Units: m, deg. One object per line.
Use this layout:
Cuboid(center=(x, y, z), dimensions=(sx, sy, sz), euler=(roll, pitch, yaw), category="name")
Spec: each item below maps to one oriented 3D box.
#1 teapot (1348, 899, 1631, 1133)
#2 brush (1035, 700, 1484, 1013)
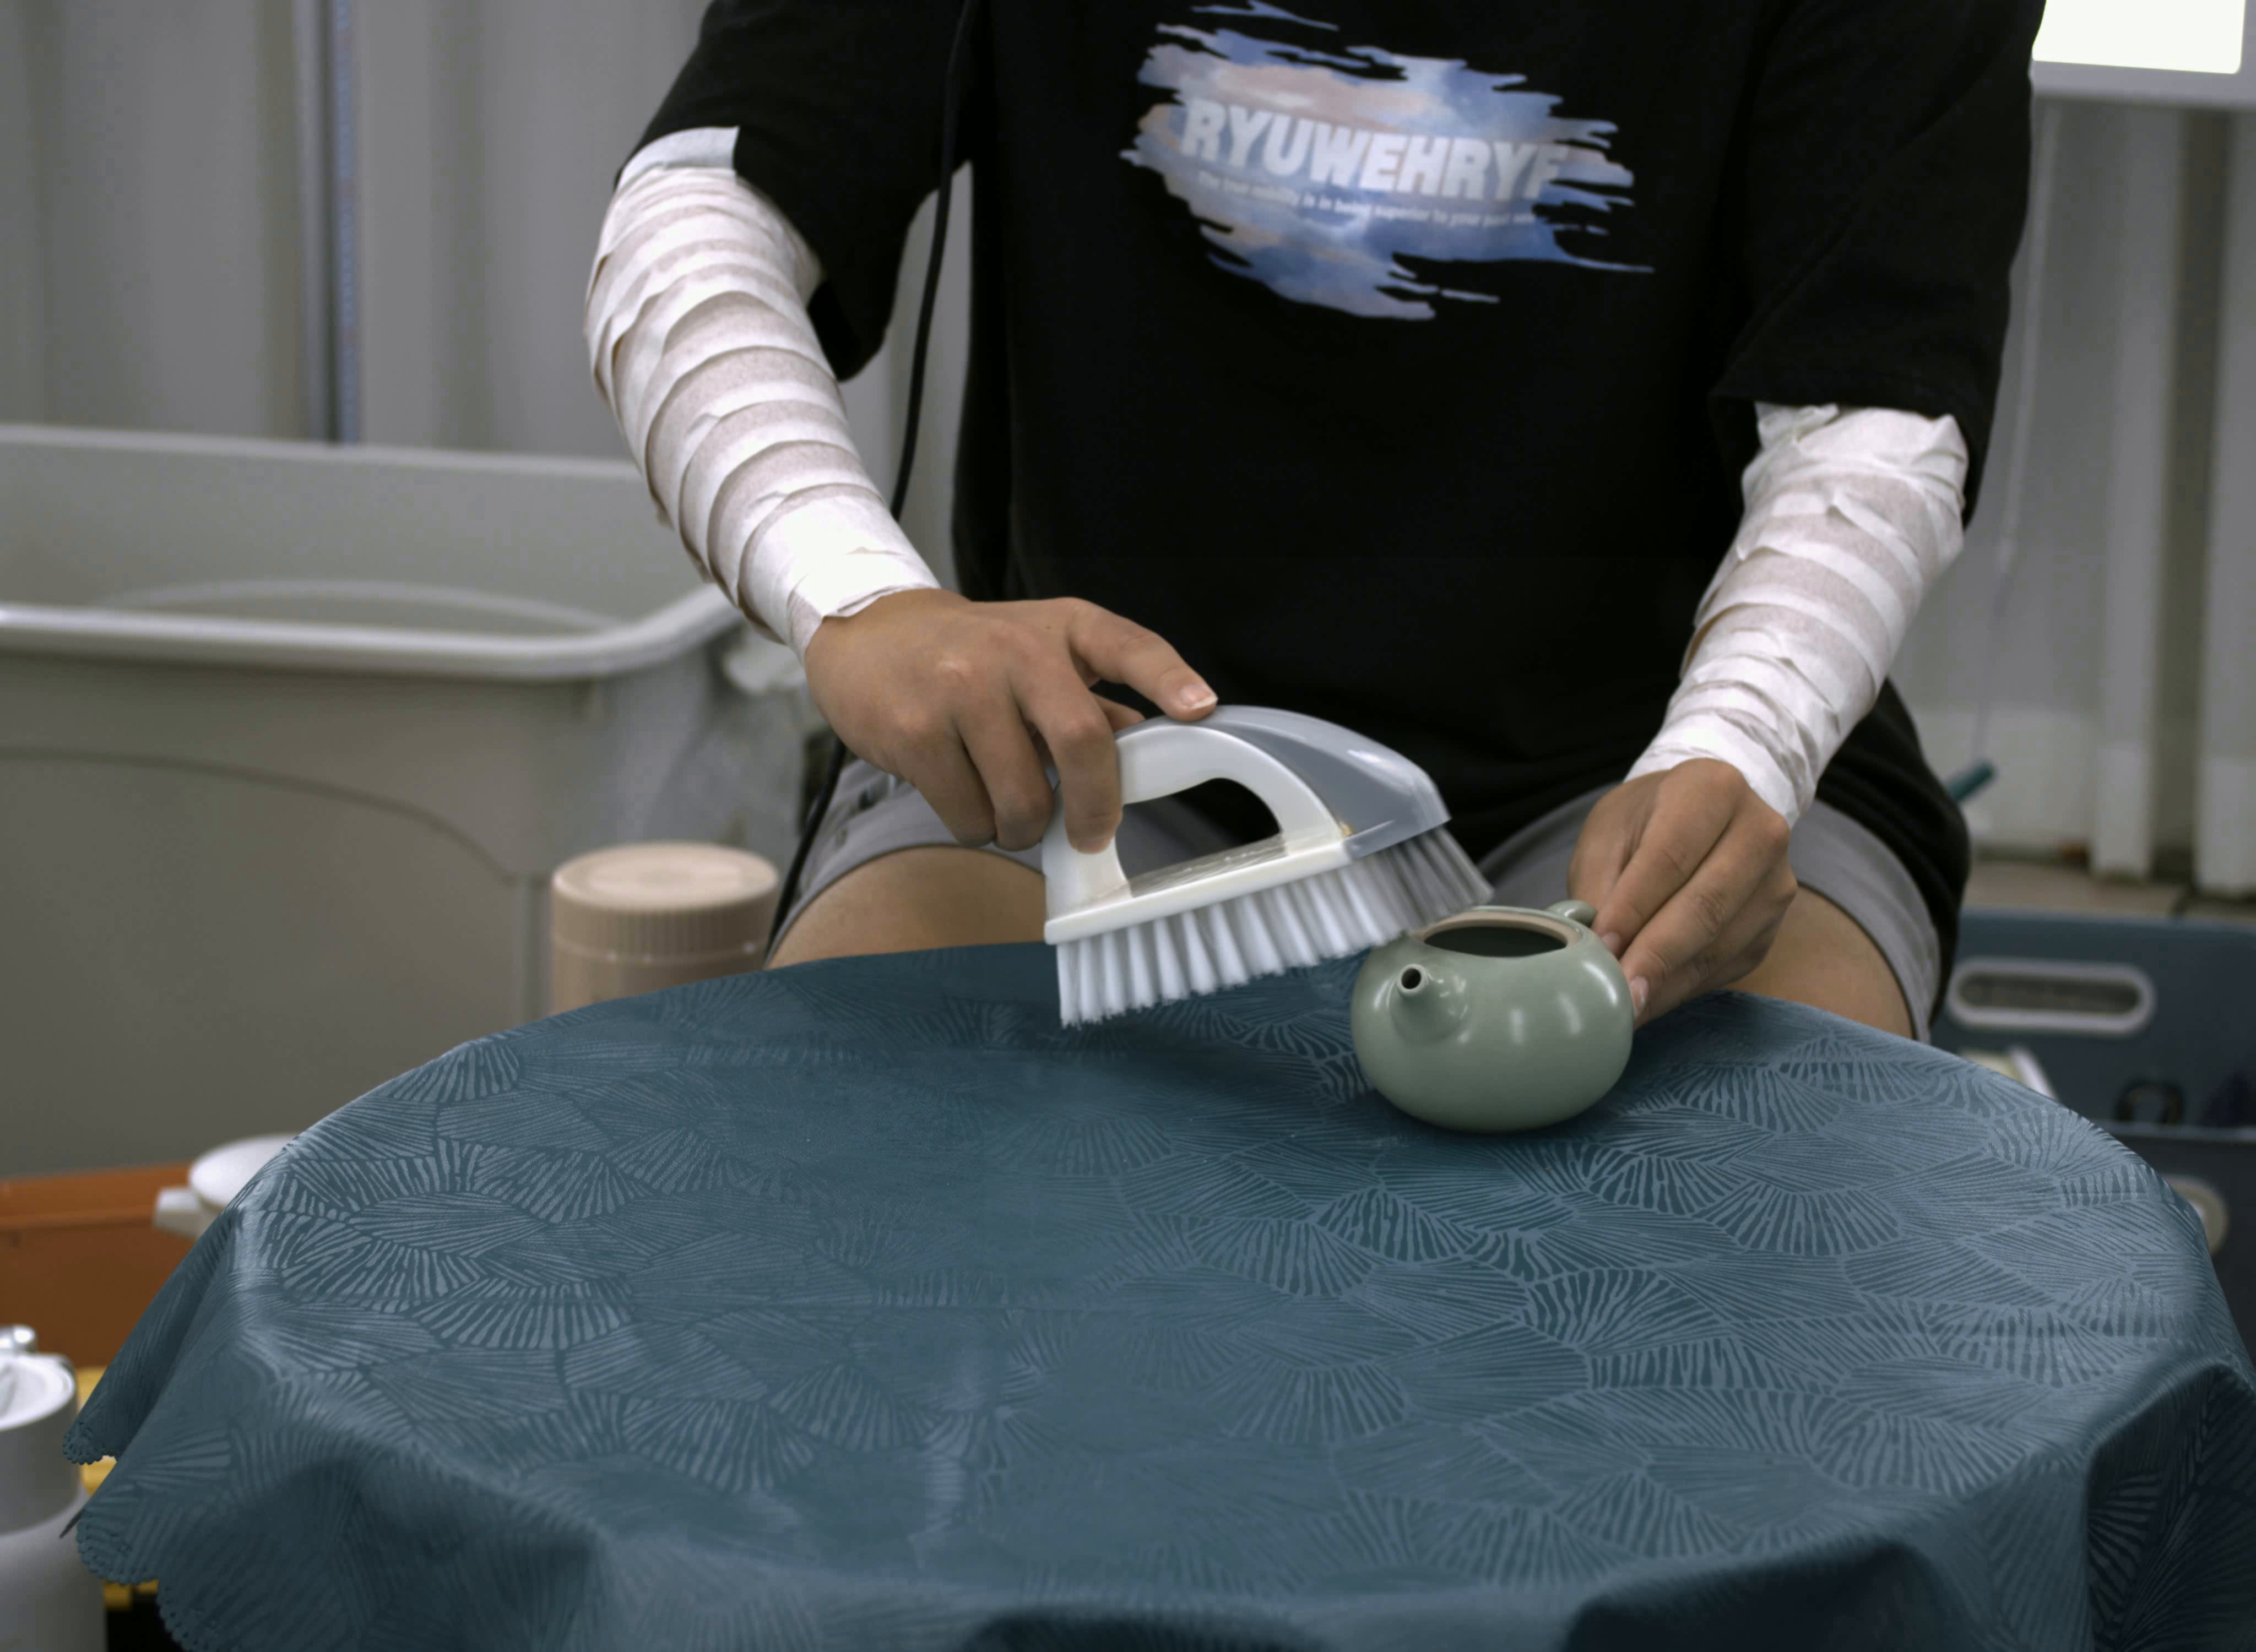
Cuboid(center=(0.122, 0.060, 1.704), dimensions=(0.090, 0.061, 0.129), euler=(11, 18, 37), category="teapot")
Cuboid(center=(0.037, 0.002, 1.713), dimensions=(0.174, 0.095, 0.061), euler=(-12, 12, 45), category="brush")
